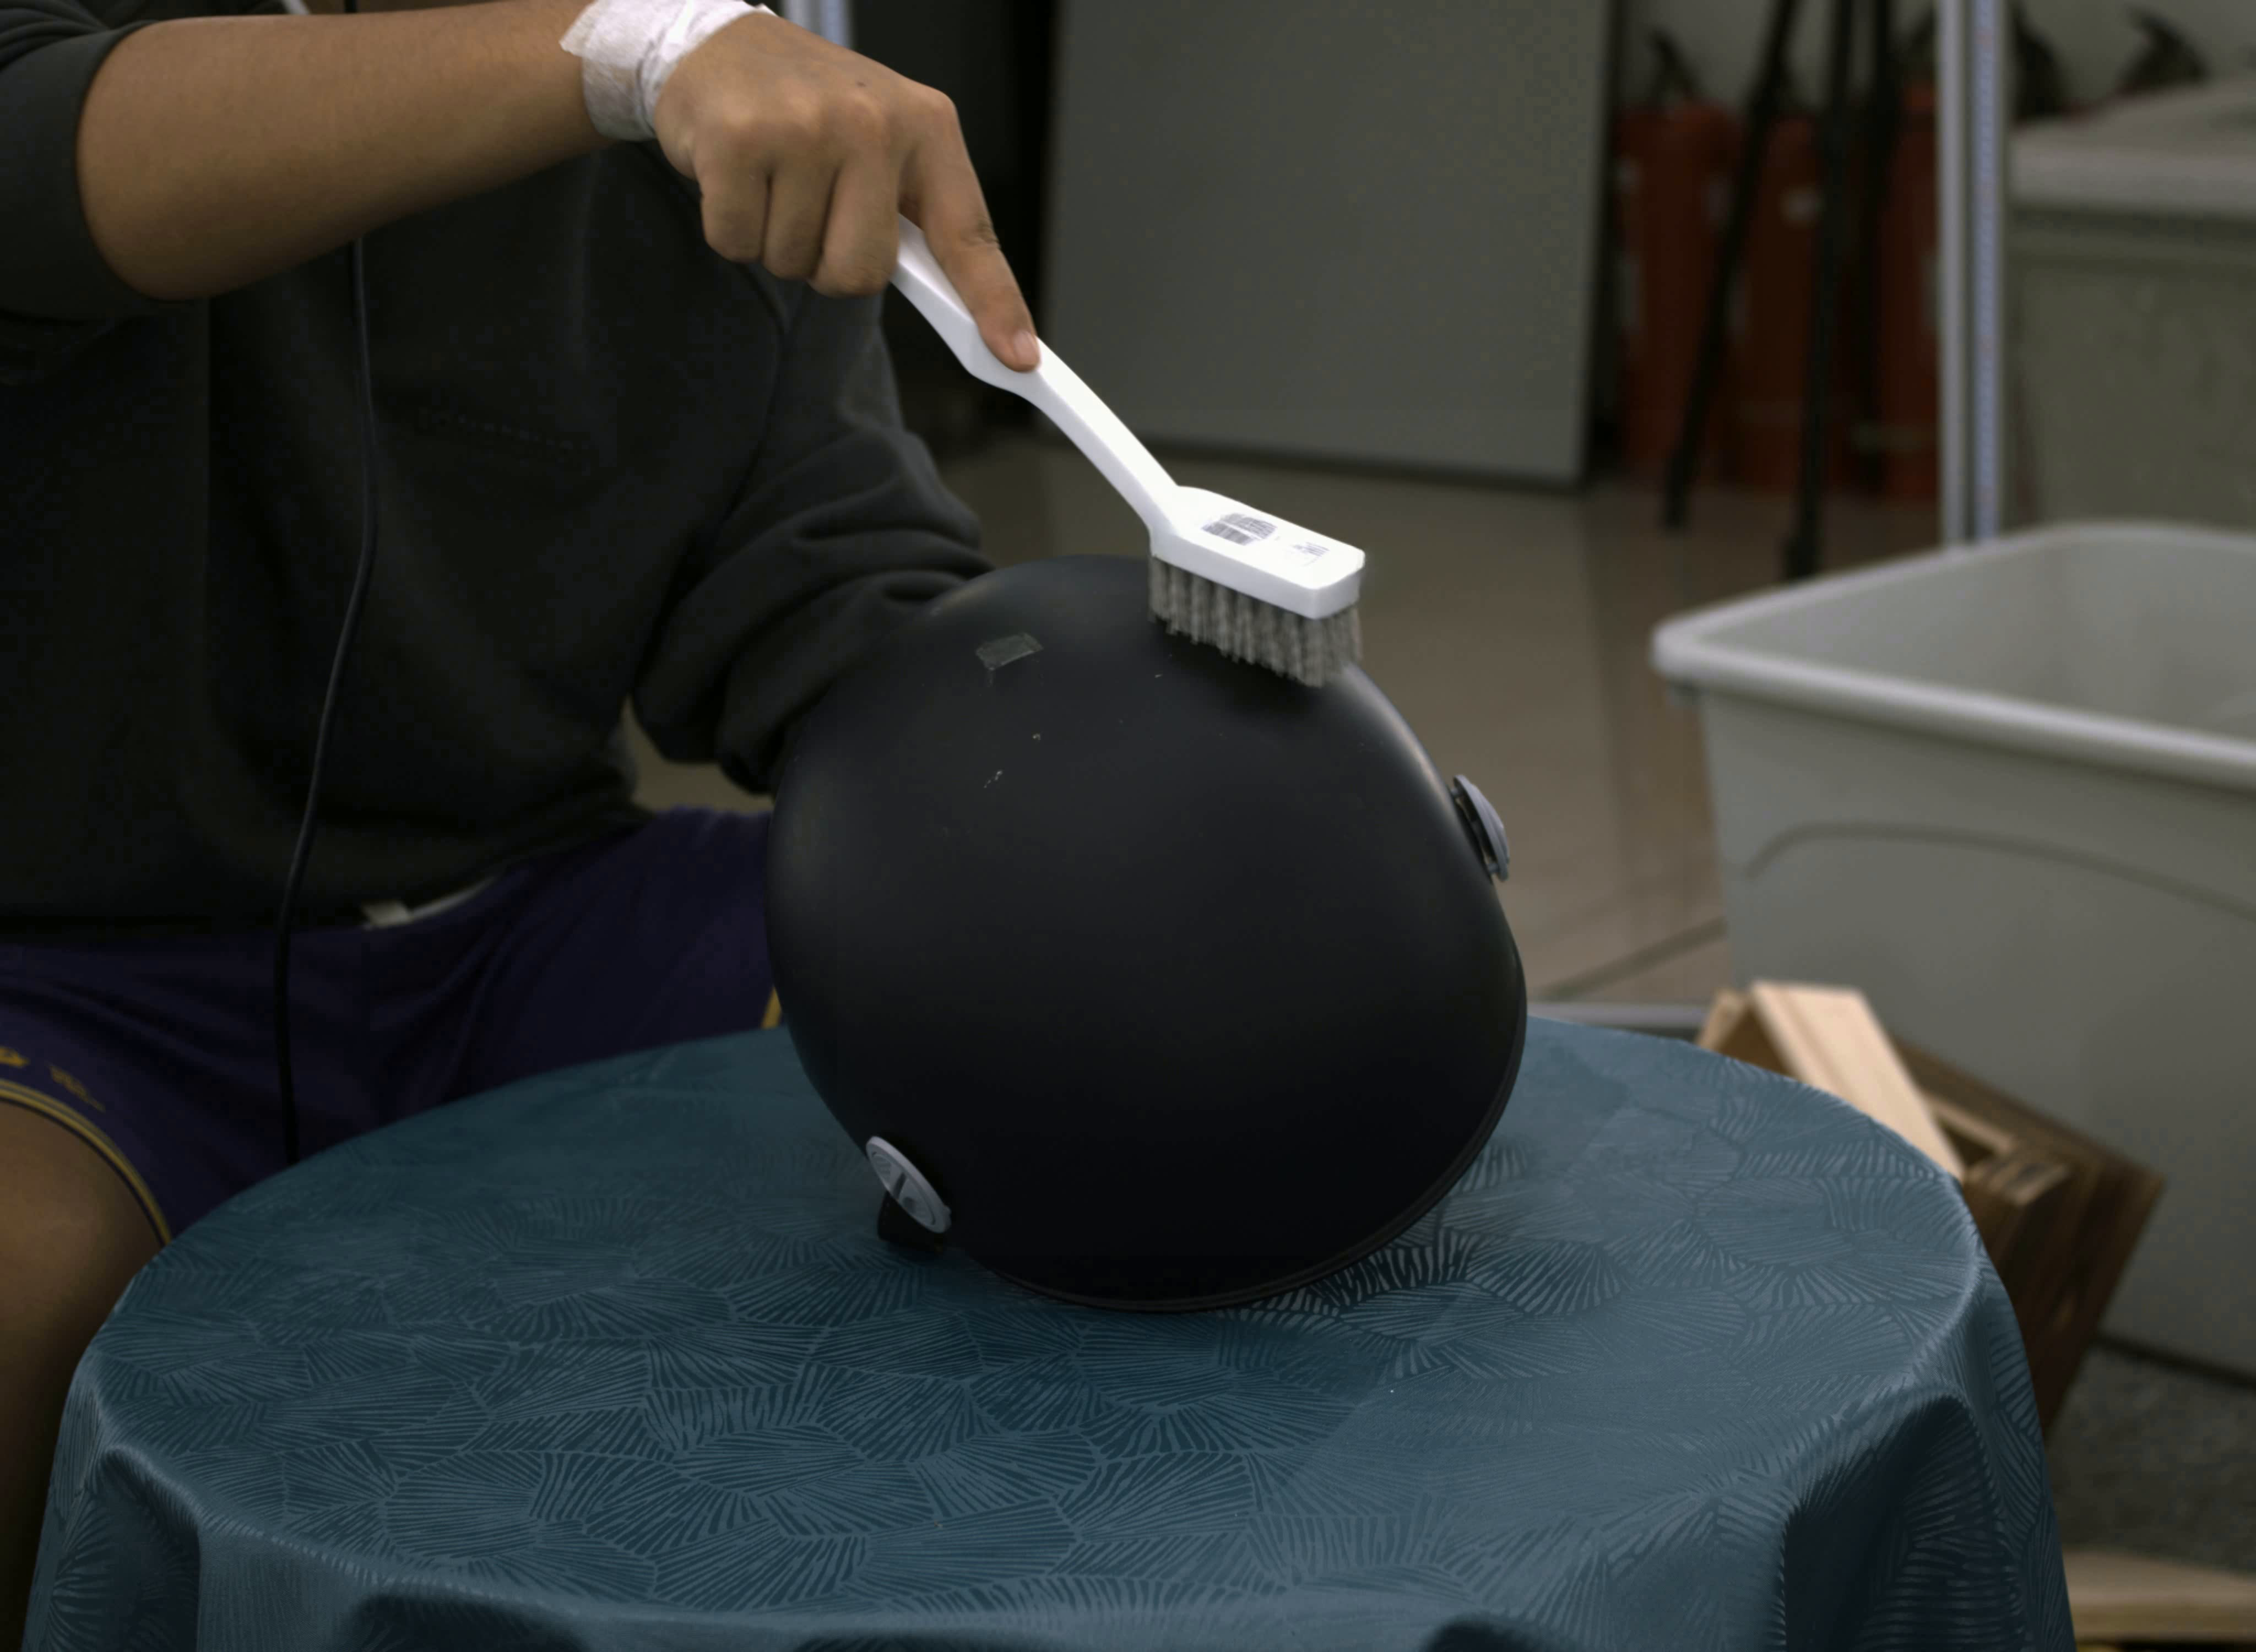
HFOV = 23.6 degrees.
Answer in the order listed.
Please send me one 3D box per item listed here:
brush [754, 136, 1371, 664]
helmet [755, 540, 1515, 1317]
[{"bbox_3d":[-0.025,-0.129,1.672,0.244,0.051,0.034,36,37,12],"label":"brush"},{"bbox_3d":[-0.009,0.012,1.697,0.228,0.166,0.276,-31,40,-8],"label":"helmet"}]
